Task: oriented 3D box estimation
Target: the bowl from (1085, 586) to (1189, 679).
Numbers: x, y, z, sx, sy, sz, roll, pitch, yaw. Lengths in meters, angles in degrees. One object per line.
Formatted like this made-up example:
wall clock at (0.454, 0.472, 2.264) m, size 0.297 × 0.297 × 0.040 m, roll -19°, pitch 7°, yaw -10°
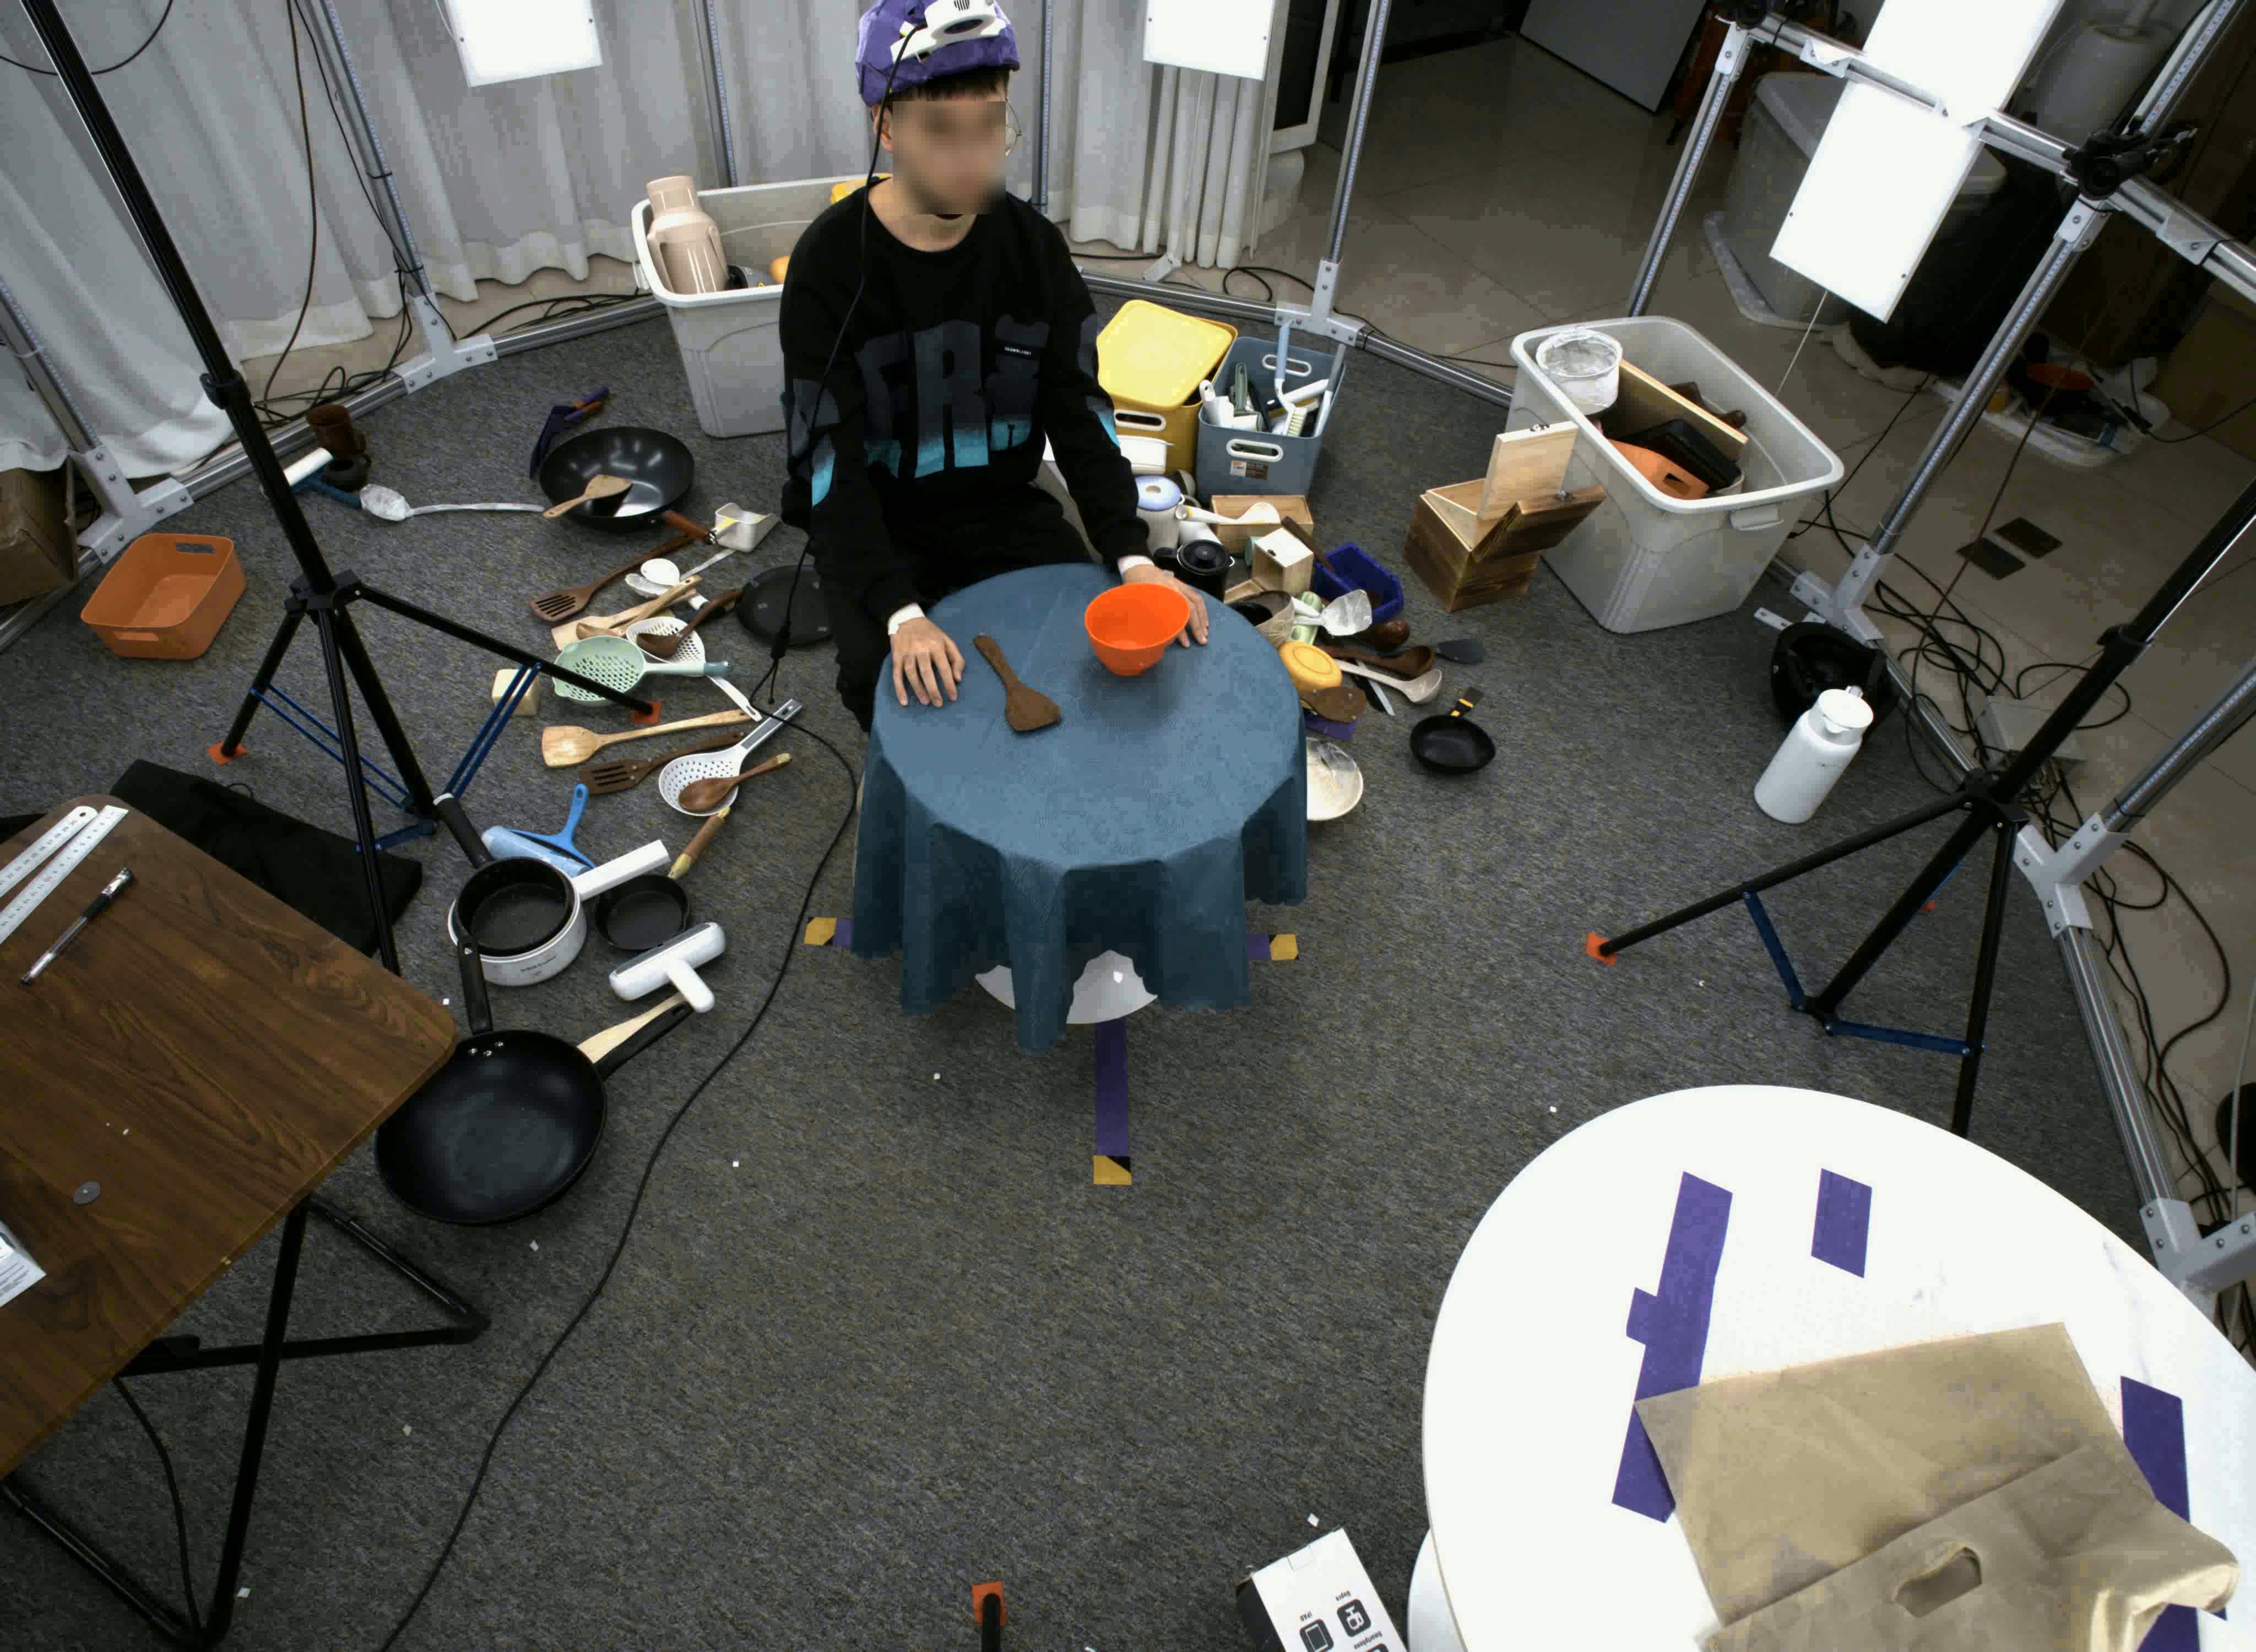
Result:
bowl at (0.011, -0.269, 1.856) m, size 0.148 × 0.102 × 0.152 m, roll 1°, pitch 50°, yaw -1°

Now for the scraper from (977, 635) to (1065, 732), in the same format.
scraper at (-0.166, -0.208, 1.850) m, size 0.076 × 0.010 × 0.216 m, roll -19°, pitch 52°, yaw -20°
